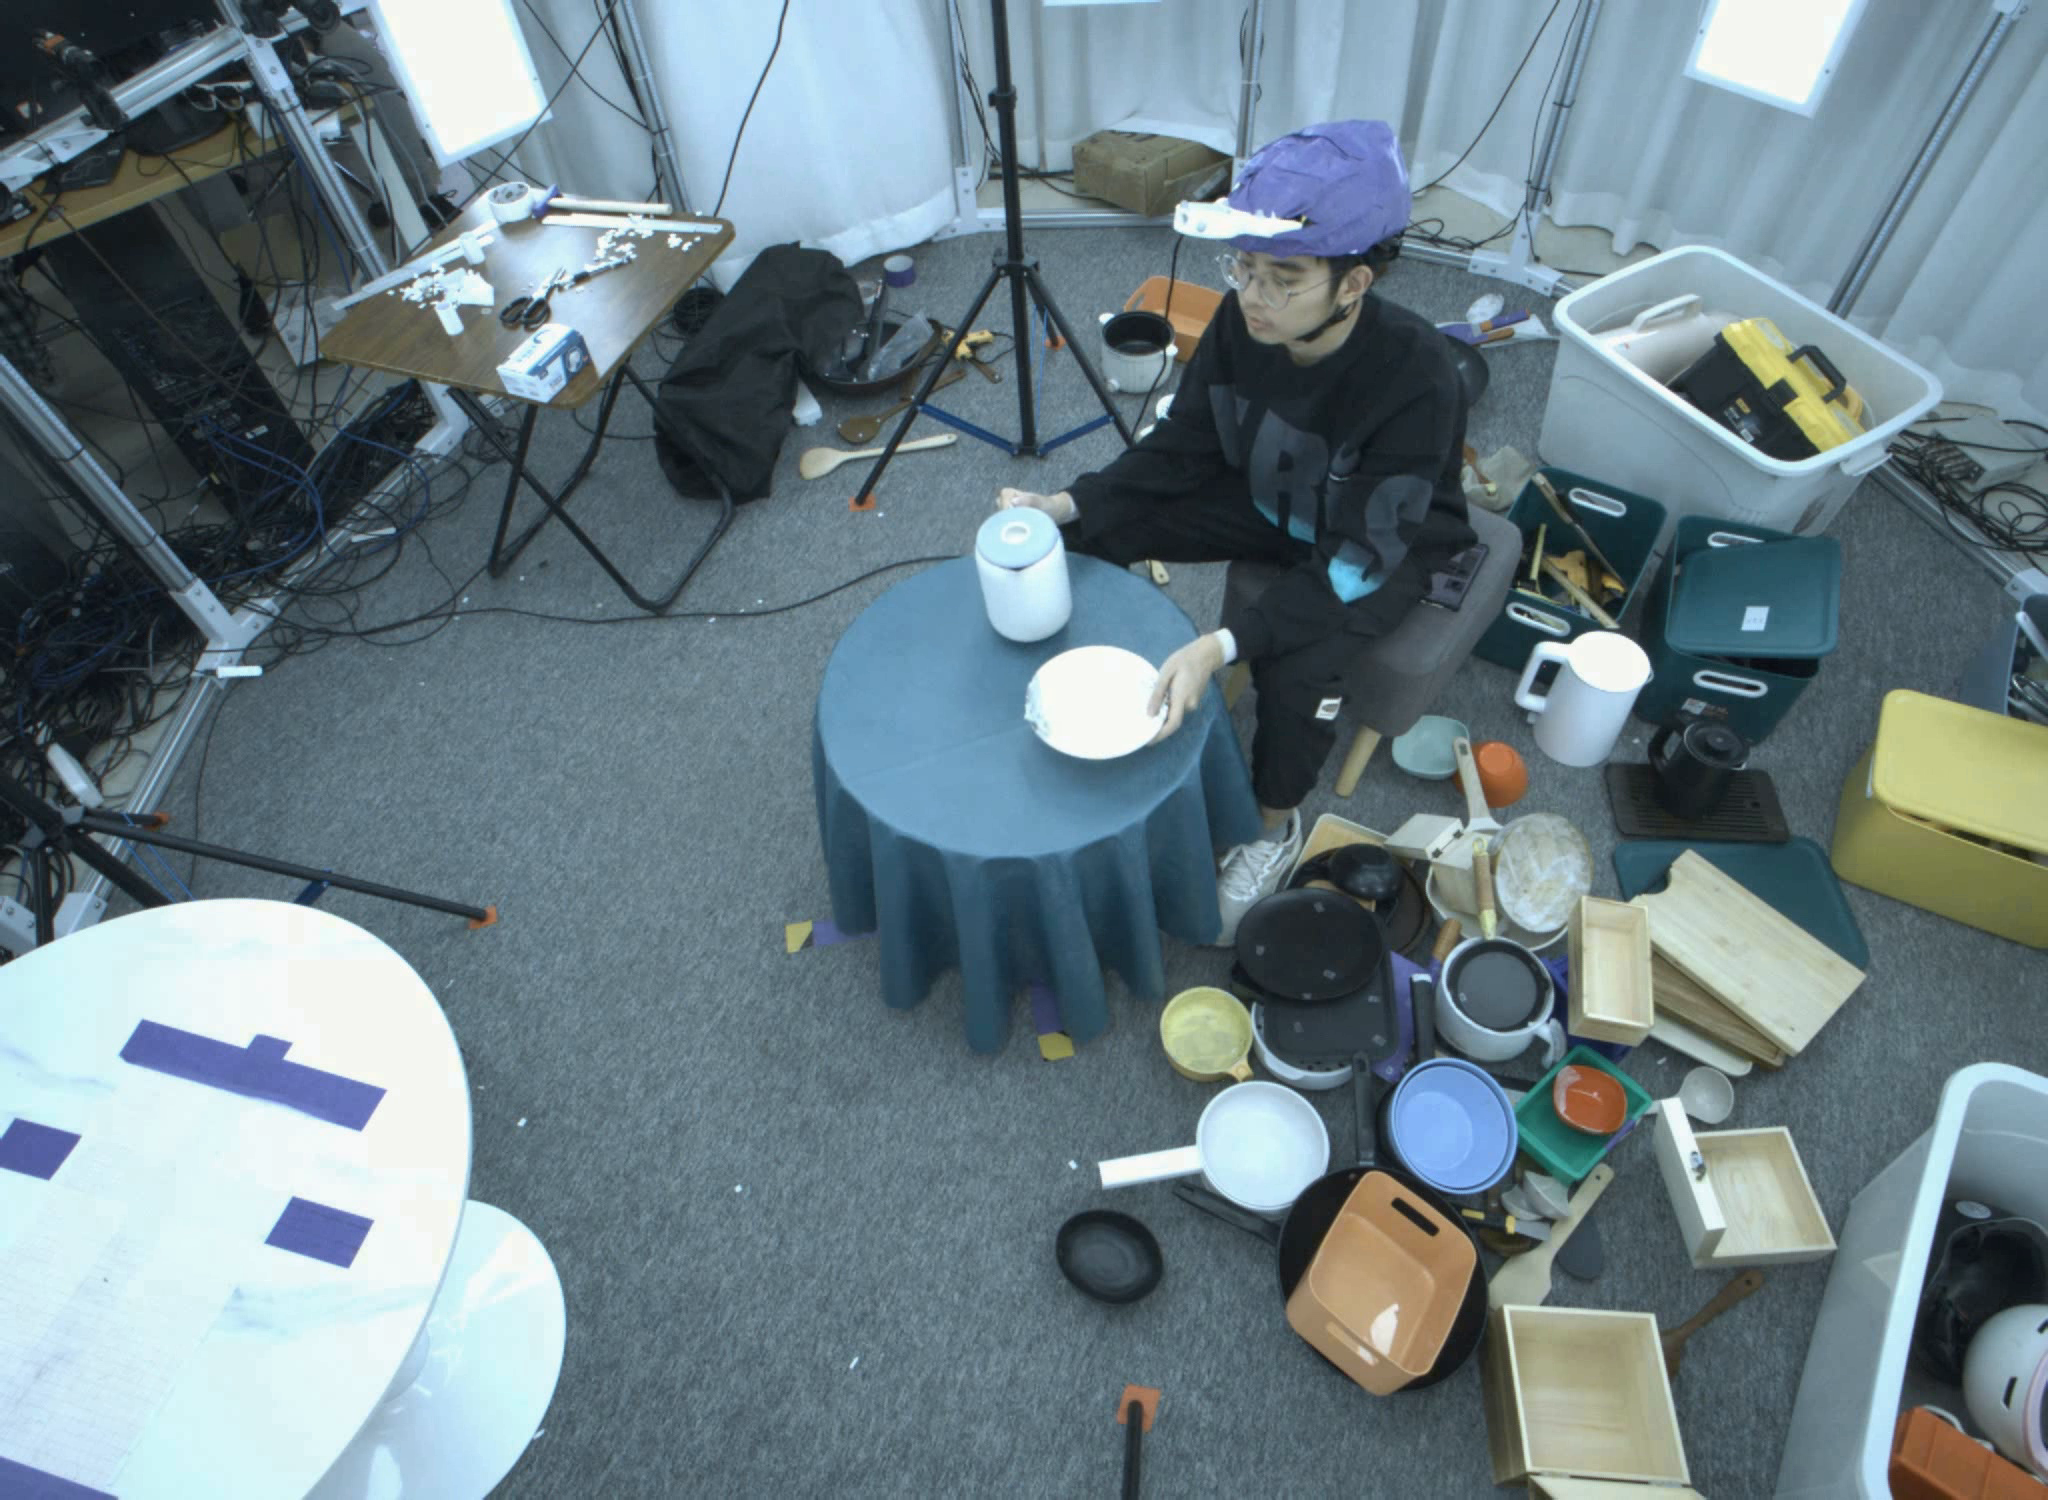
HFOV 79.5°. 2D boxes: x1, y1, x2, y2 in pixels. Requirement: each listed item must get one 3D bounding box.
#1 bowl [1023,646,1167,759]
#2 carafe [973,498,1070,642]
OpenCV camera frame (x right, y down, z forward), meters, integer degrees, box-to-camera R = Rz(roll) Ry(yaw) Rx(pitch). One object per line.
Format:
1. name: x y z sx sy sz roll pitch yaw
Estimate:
1. bowl: 0.101 -0.048 1.767 0.204 0.079 0.202 1 54 0
2. carafe: -0.005 -0.281 1.845 0.132 0.185 0.189 -7 54 2
